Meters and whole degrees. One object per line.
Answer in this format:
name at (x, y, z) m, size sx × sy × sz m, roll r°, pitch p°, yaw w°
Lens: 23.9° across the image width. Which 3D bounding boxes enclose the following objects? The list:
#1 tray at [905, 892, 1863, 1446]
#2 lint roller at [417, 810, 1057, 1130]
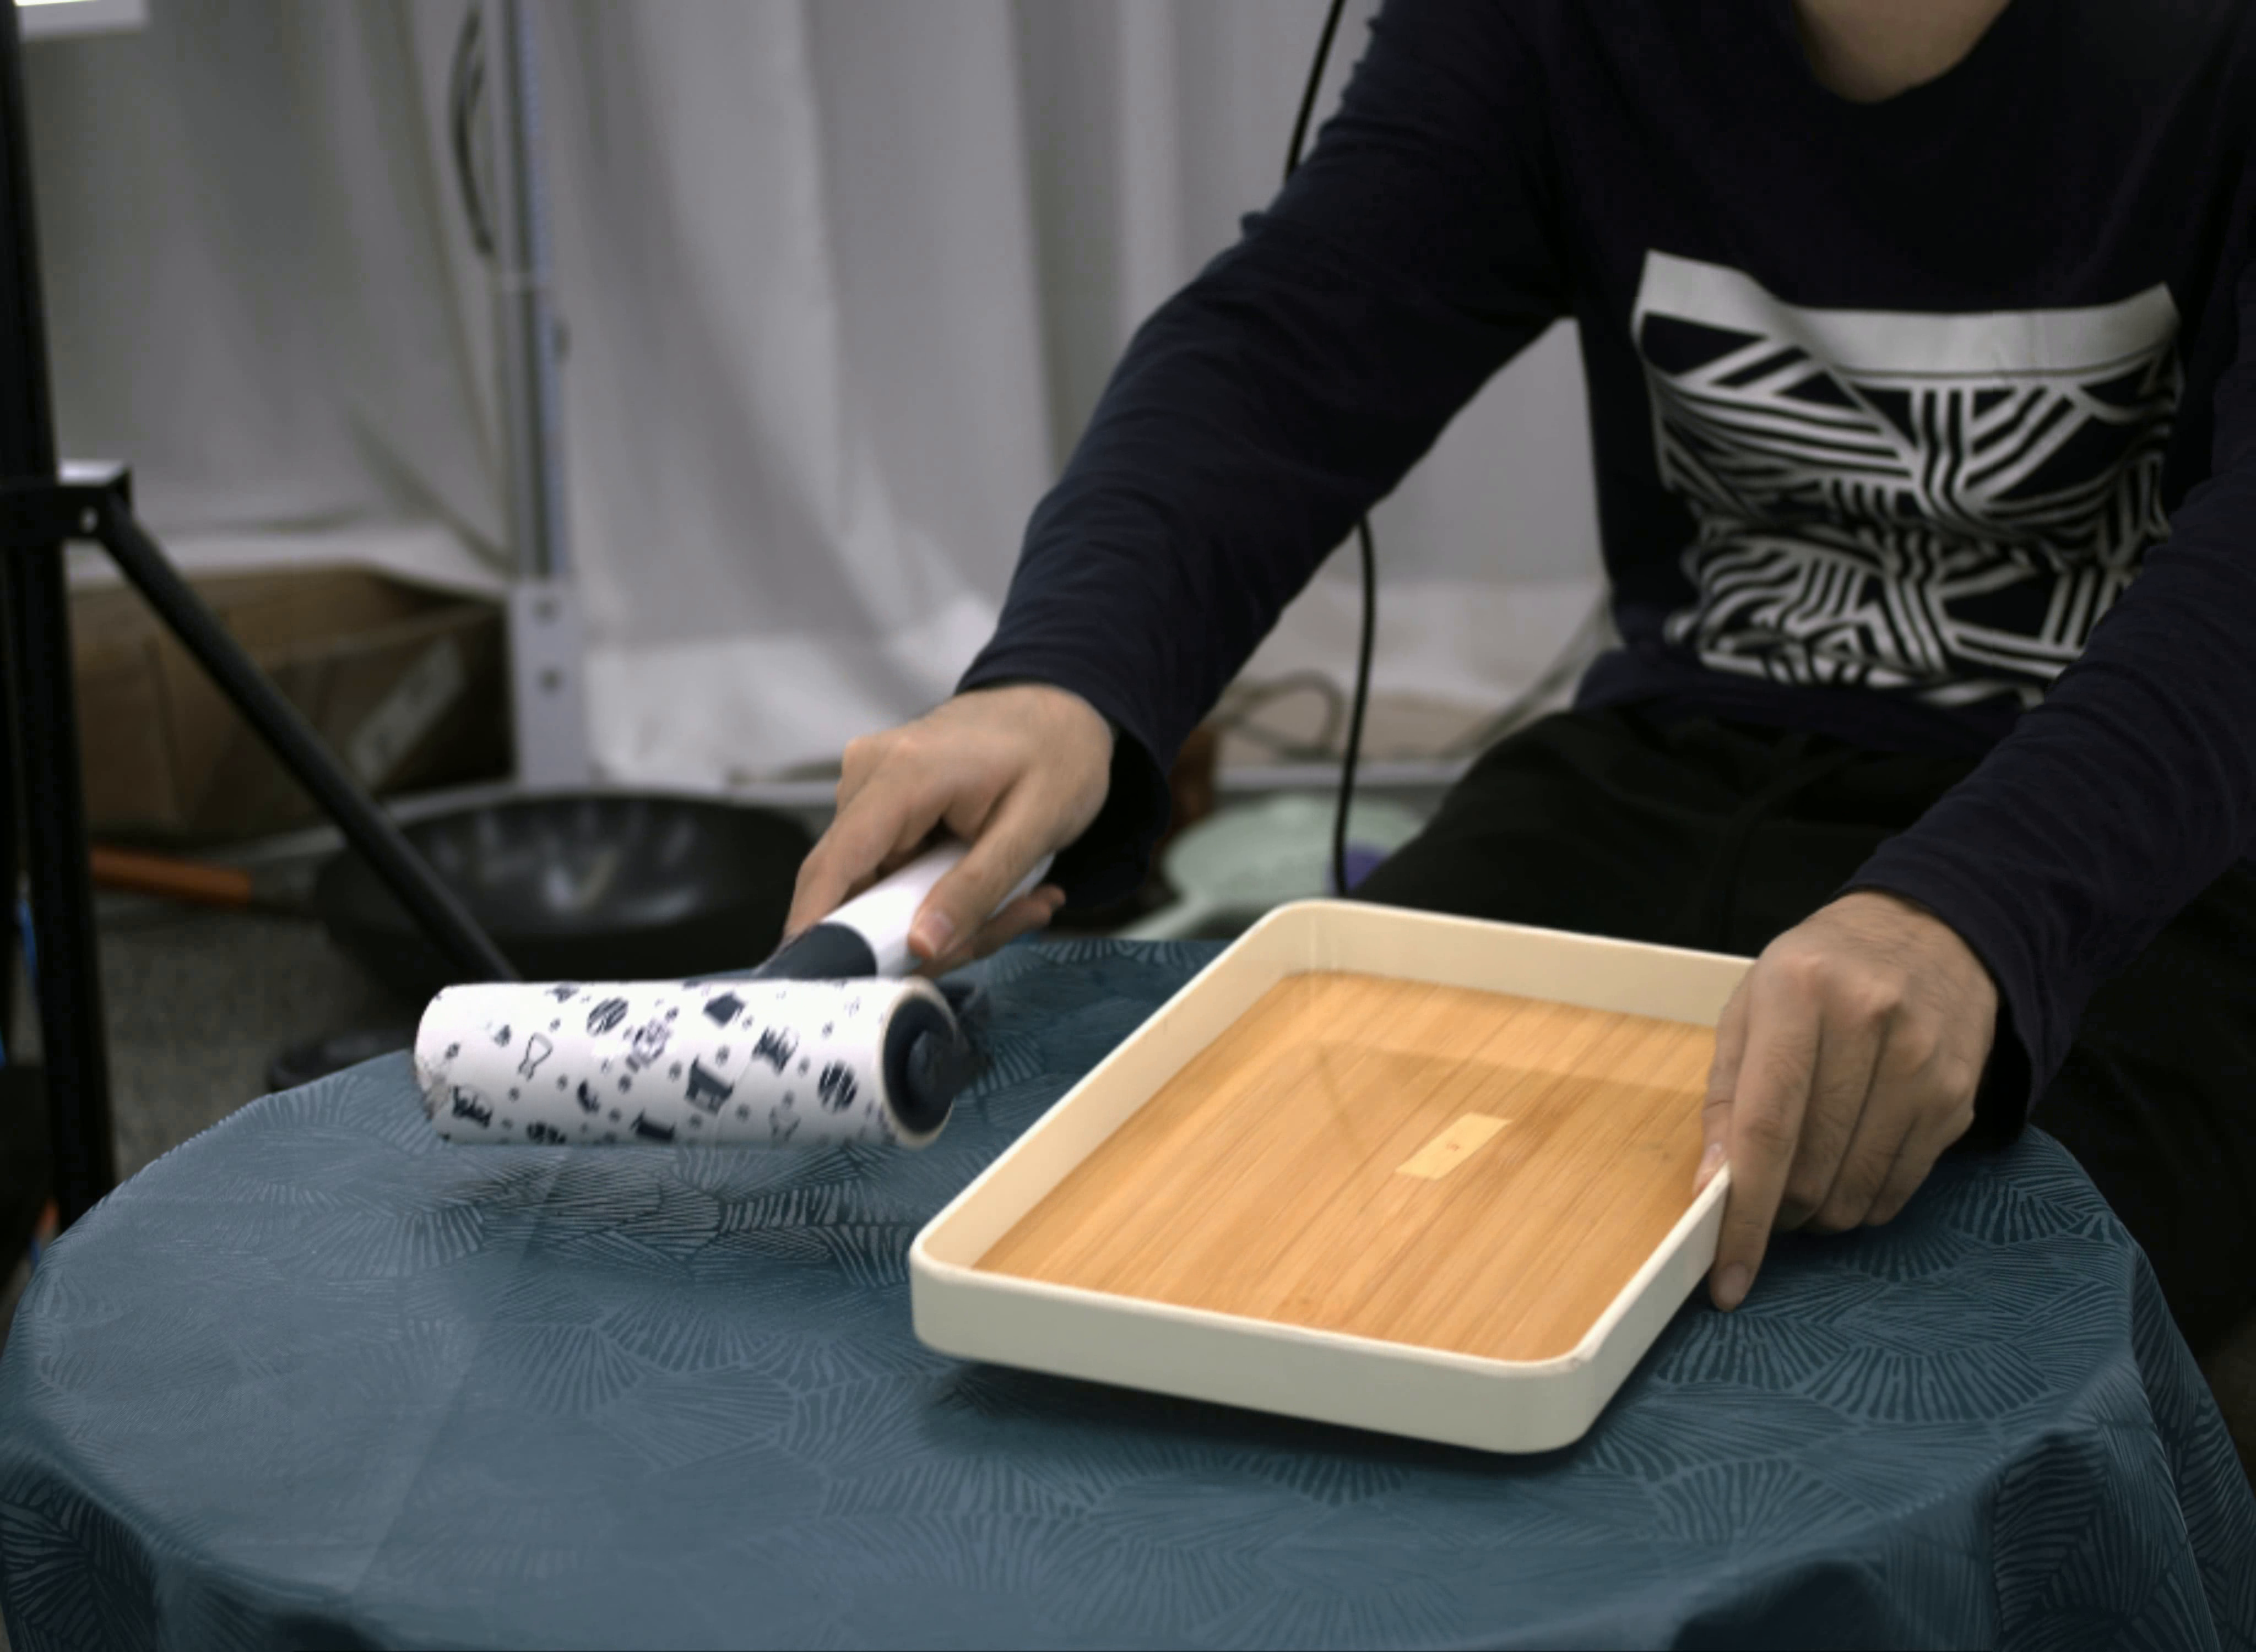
tray at (0.080, 0.090, 1.491) m, size 0.194 × 0.027 × 0.296 m, roll 7°, pitch 21°, yaw 23°
lint roller at (-0.085, 0.033, 1.632) m, size 0.179 × 0.050 × 0.243 m, roll -4°, pitch 16°, yaw 28°
